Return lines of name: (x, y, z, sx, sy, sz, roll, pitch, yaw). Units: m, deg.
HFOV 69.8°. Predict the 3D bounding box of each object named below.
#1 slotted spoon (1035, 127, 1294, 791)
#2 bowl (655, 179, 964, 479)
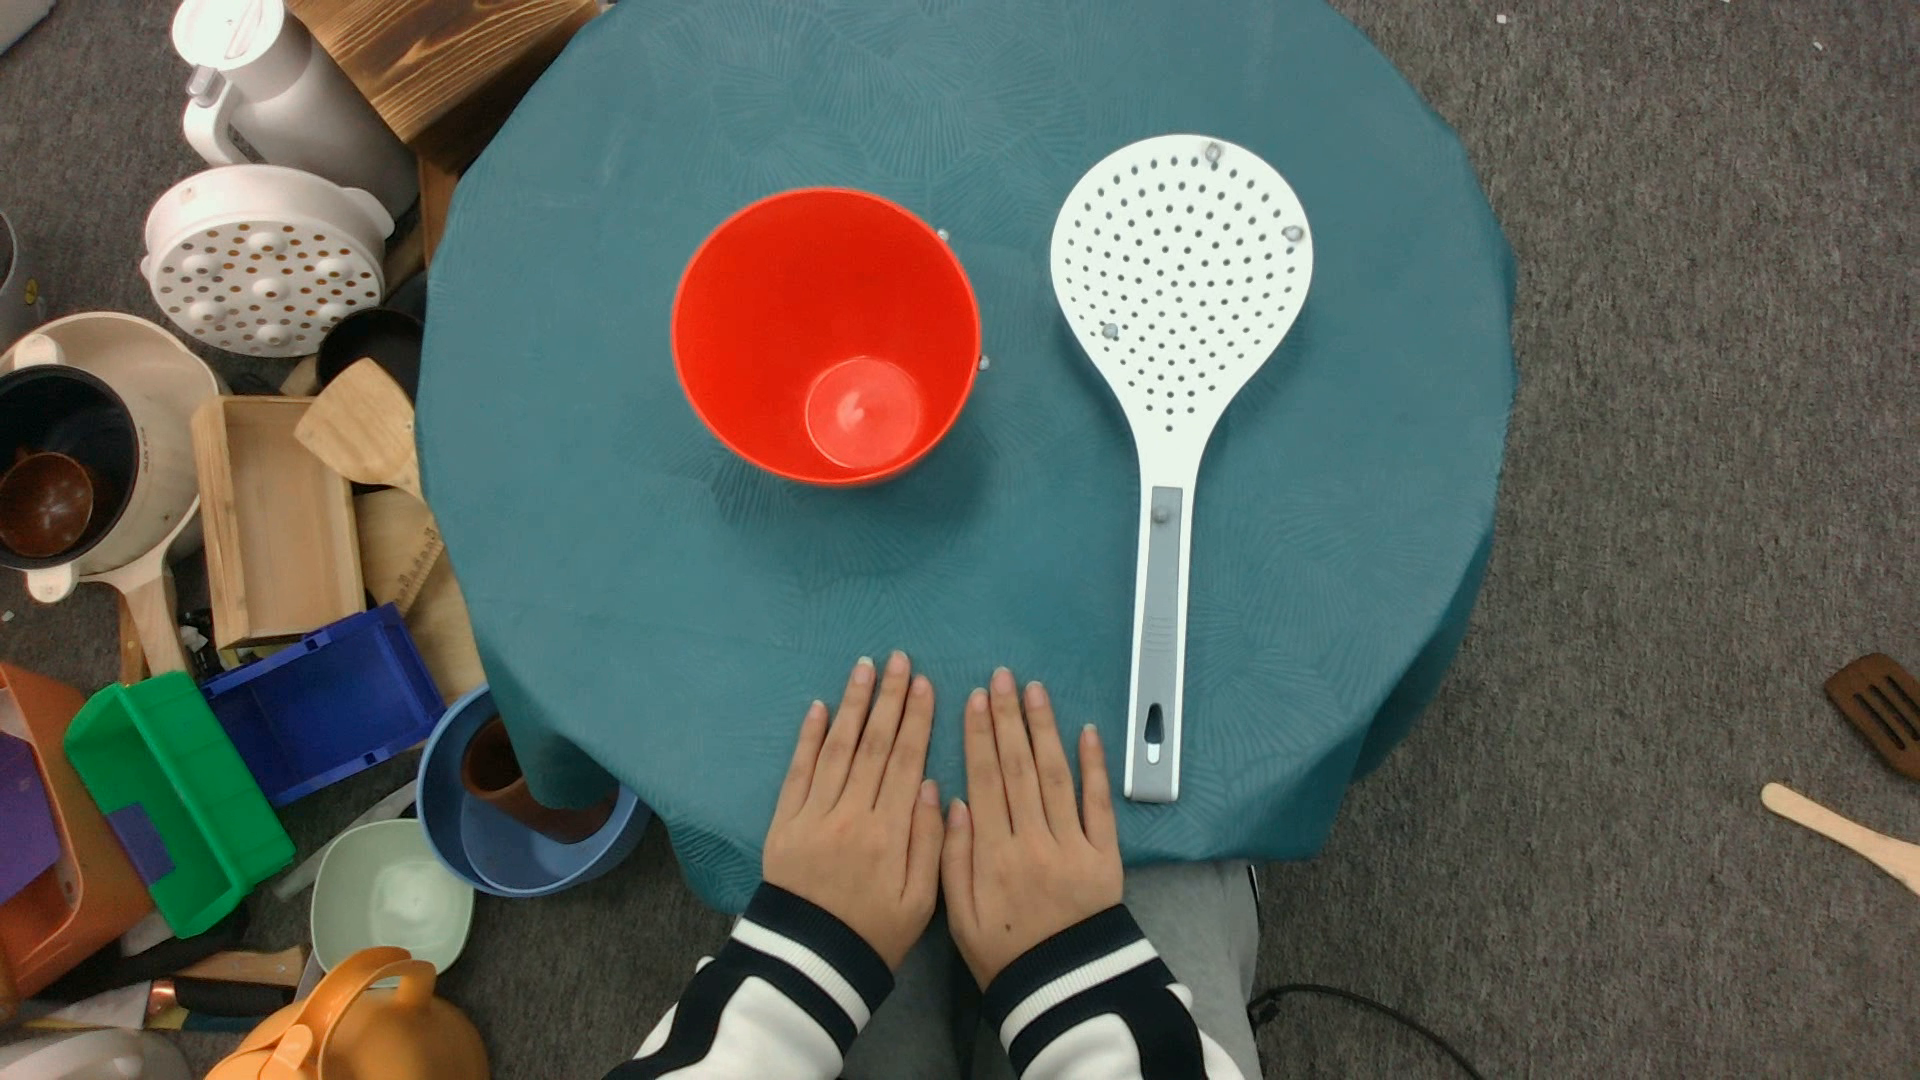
slotted spoon: (0.099, -0.048, 0.712, 0.136, 0.045, 0.350, 4, 74, 4)
bowl: (-0.071, -0.093, 0.701, 0.148, 0.104, 0.148, 0, 72, -1)
